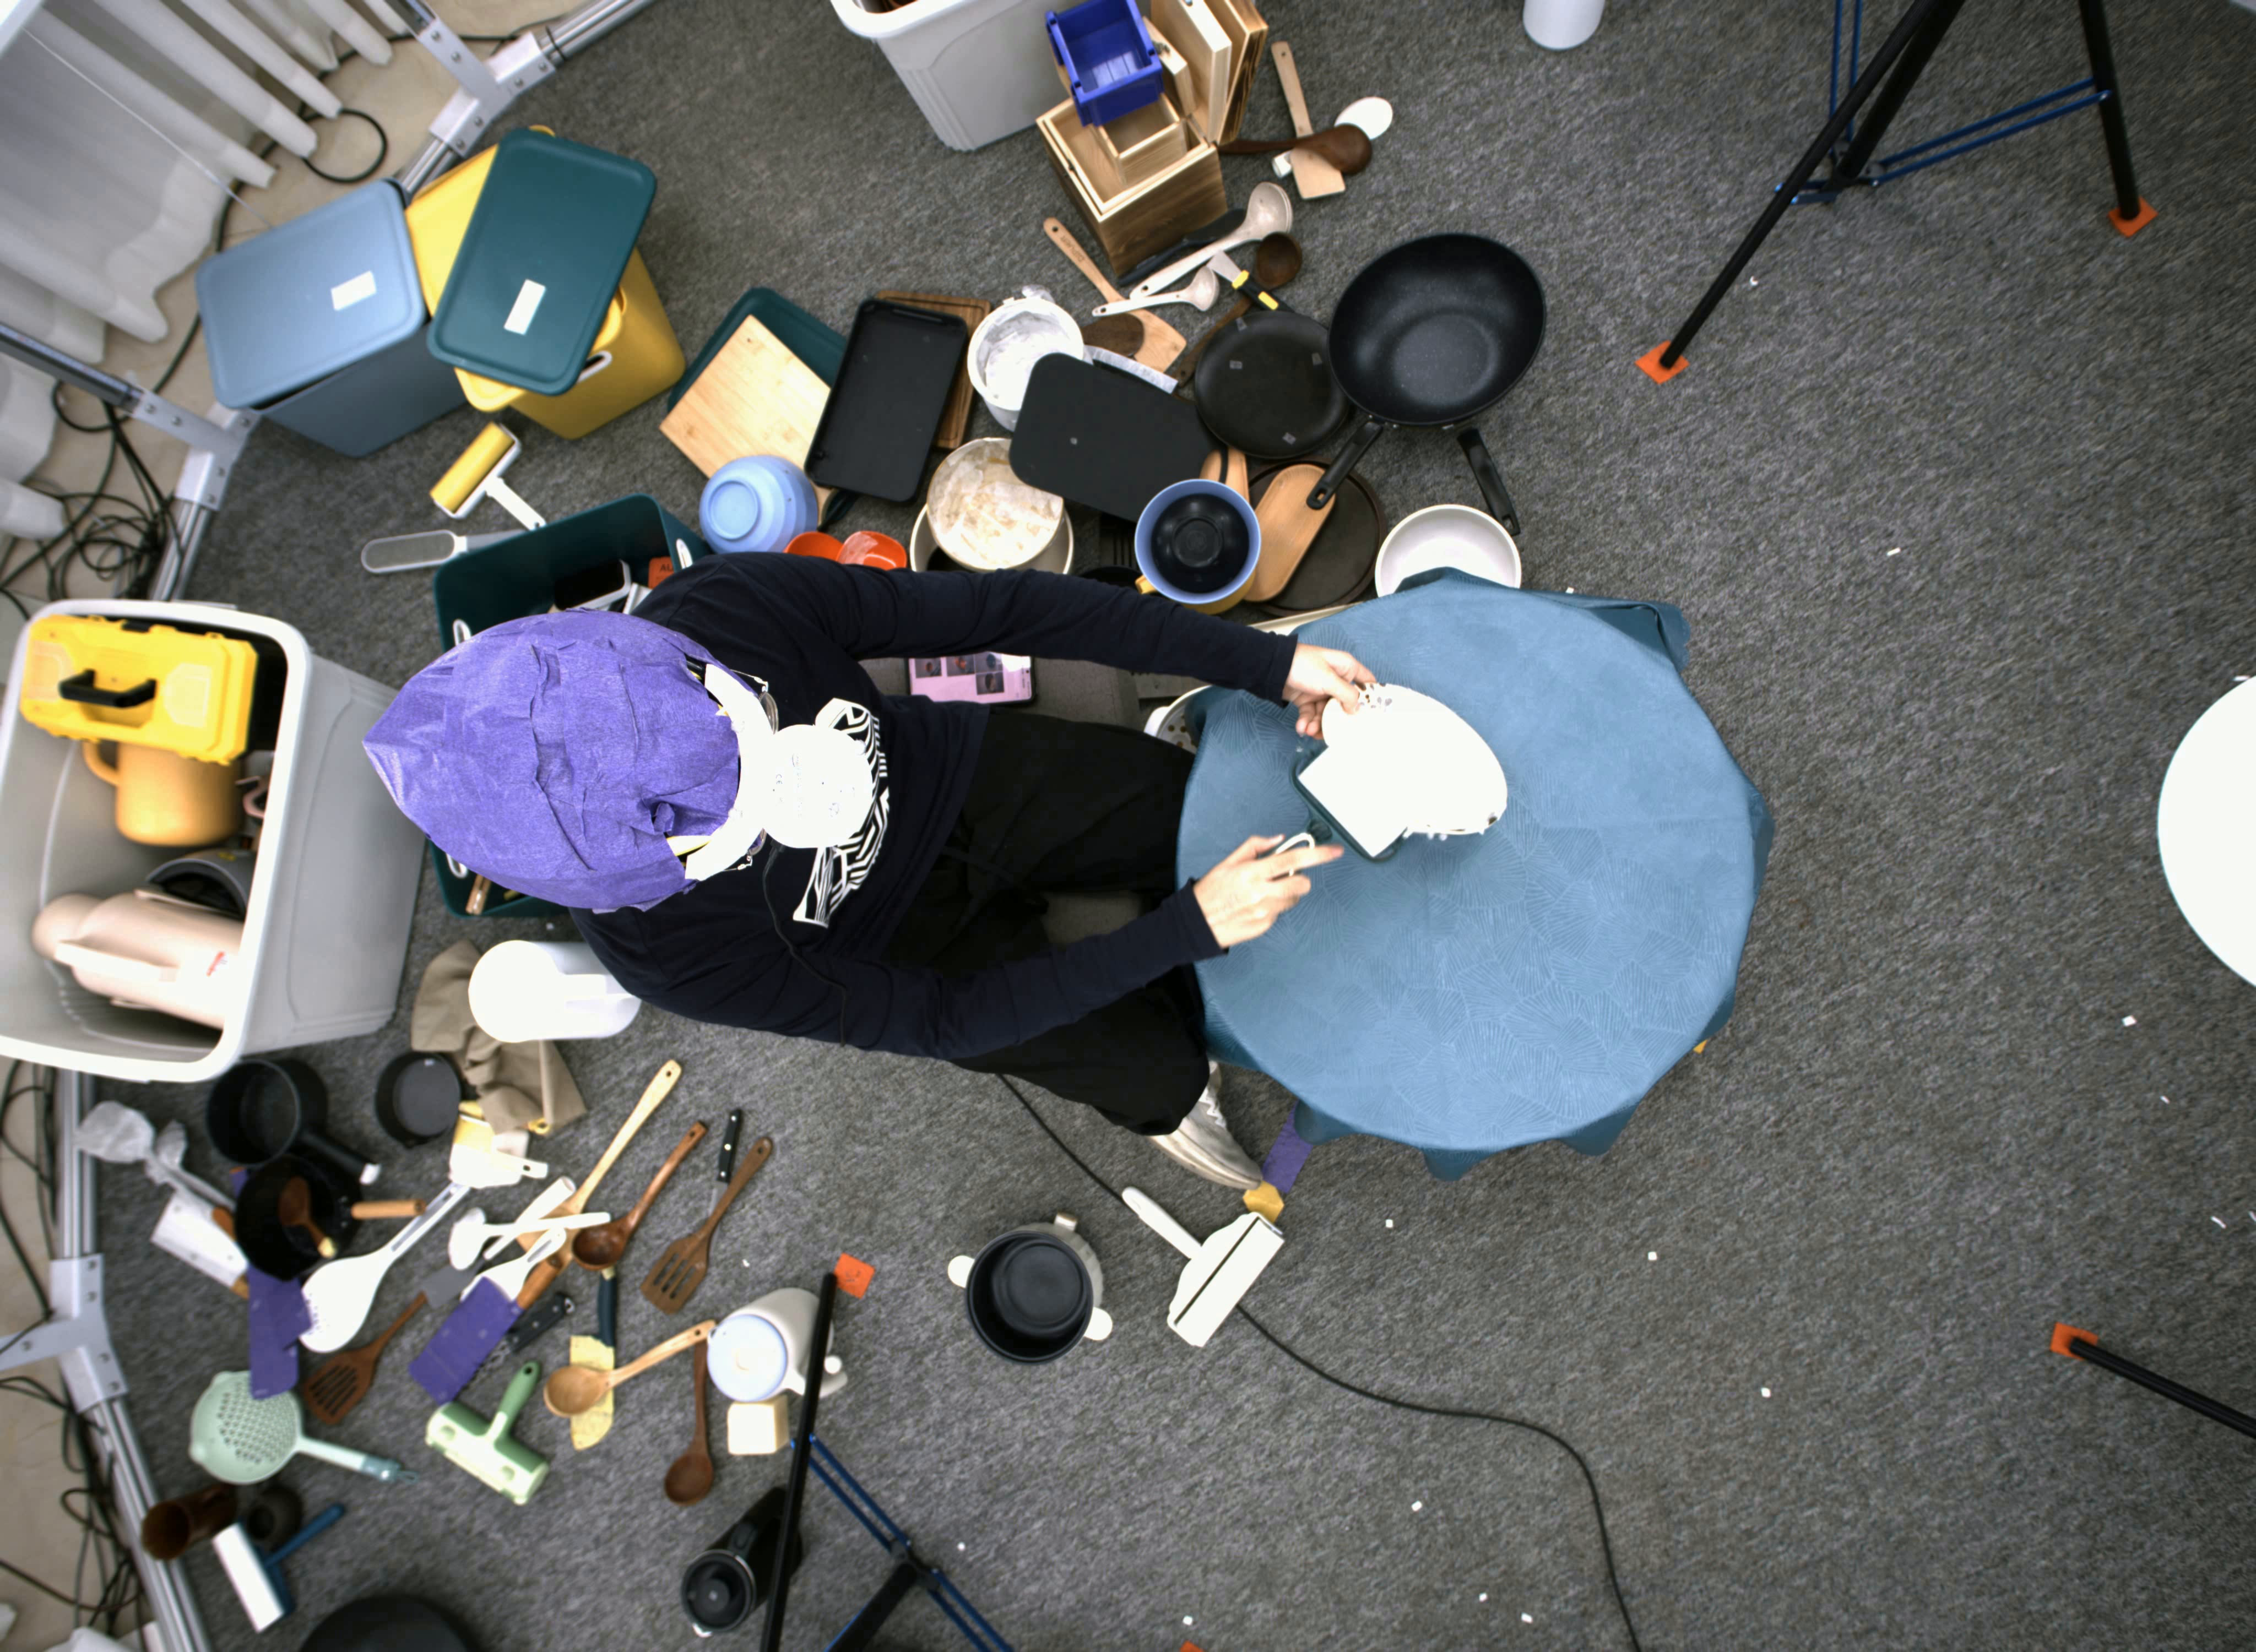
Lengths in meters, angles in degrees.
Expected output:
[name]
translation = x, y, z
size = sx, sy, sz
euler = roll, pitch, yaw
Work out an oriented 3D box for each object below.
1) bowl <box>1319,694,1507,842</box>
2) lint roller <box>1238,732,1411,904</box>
[bowl]
translation = 0.268, -0.042, 1.371
size = 0.203, 0.199, 0.080
euler = 34, 127, 11
[lint roller]
translation = 0.162, 0.015, 1.292
size = 0.134, 0.047, 0.183
euler = 47, 114, 4
